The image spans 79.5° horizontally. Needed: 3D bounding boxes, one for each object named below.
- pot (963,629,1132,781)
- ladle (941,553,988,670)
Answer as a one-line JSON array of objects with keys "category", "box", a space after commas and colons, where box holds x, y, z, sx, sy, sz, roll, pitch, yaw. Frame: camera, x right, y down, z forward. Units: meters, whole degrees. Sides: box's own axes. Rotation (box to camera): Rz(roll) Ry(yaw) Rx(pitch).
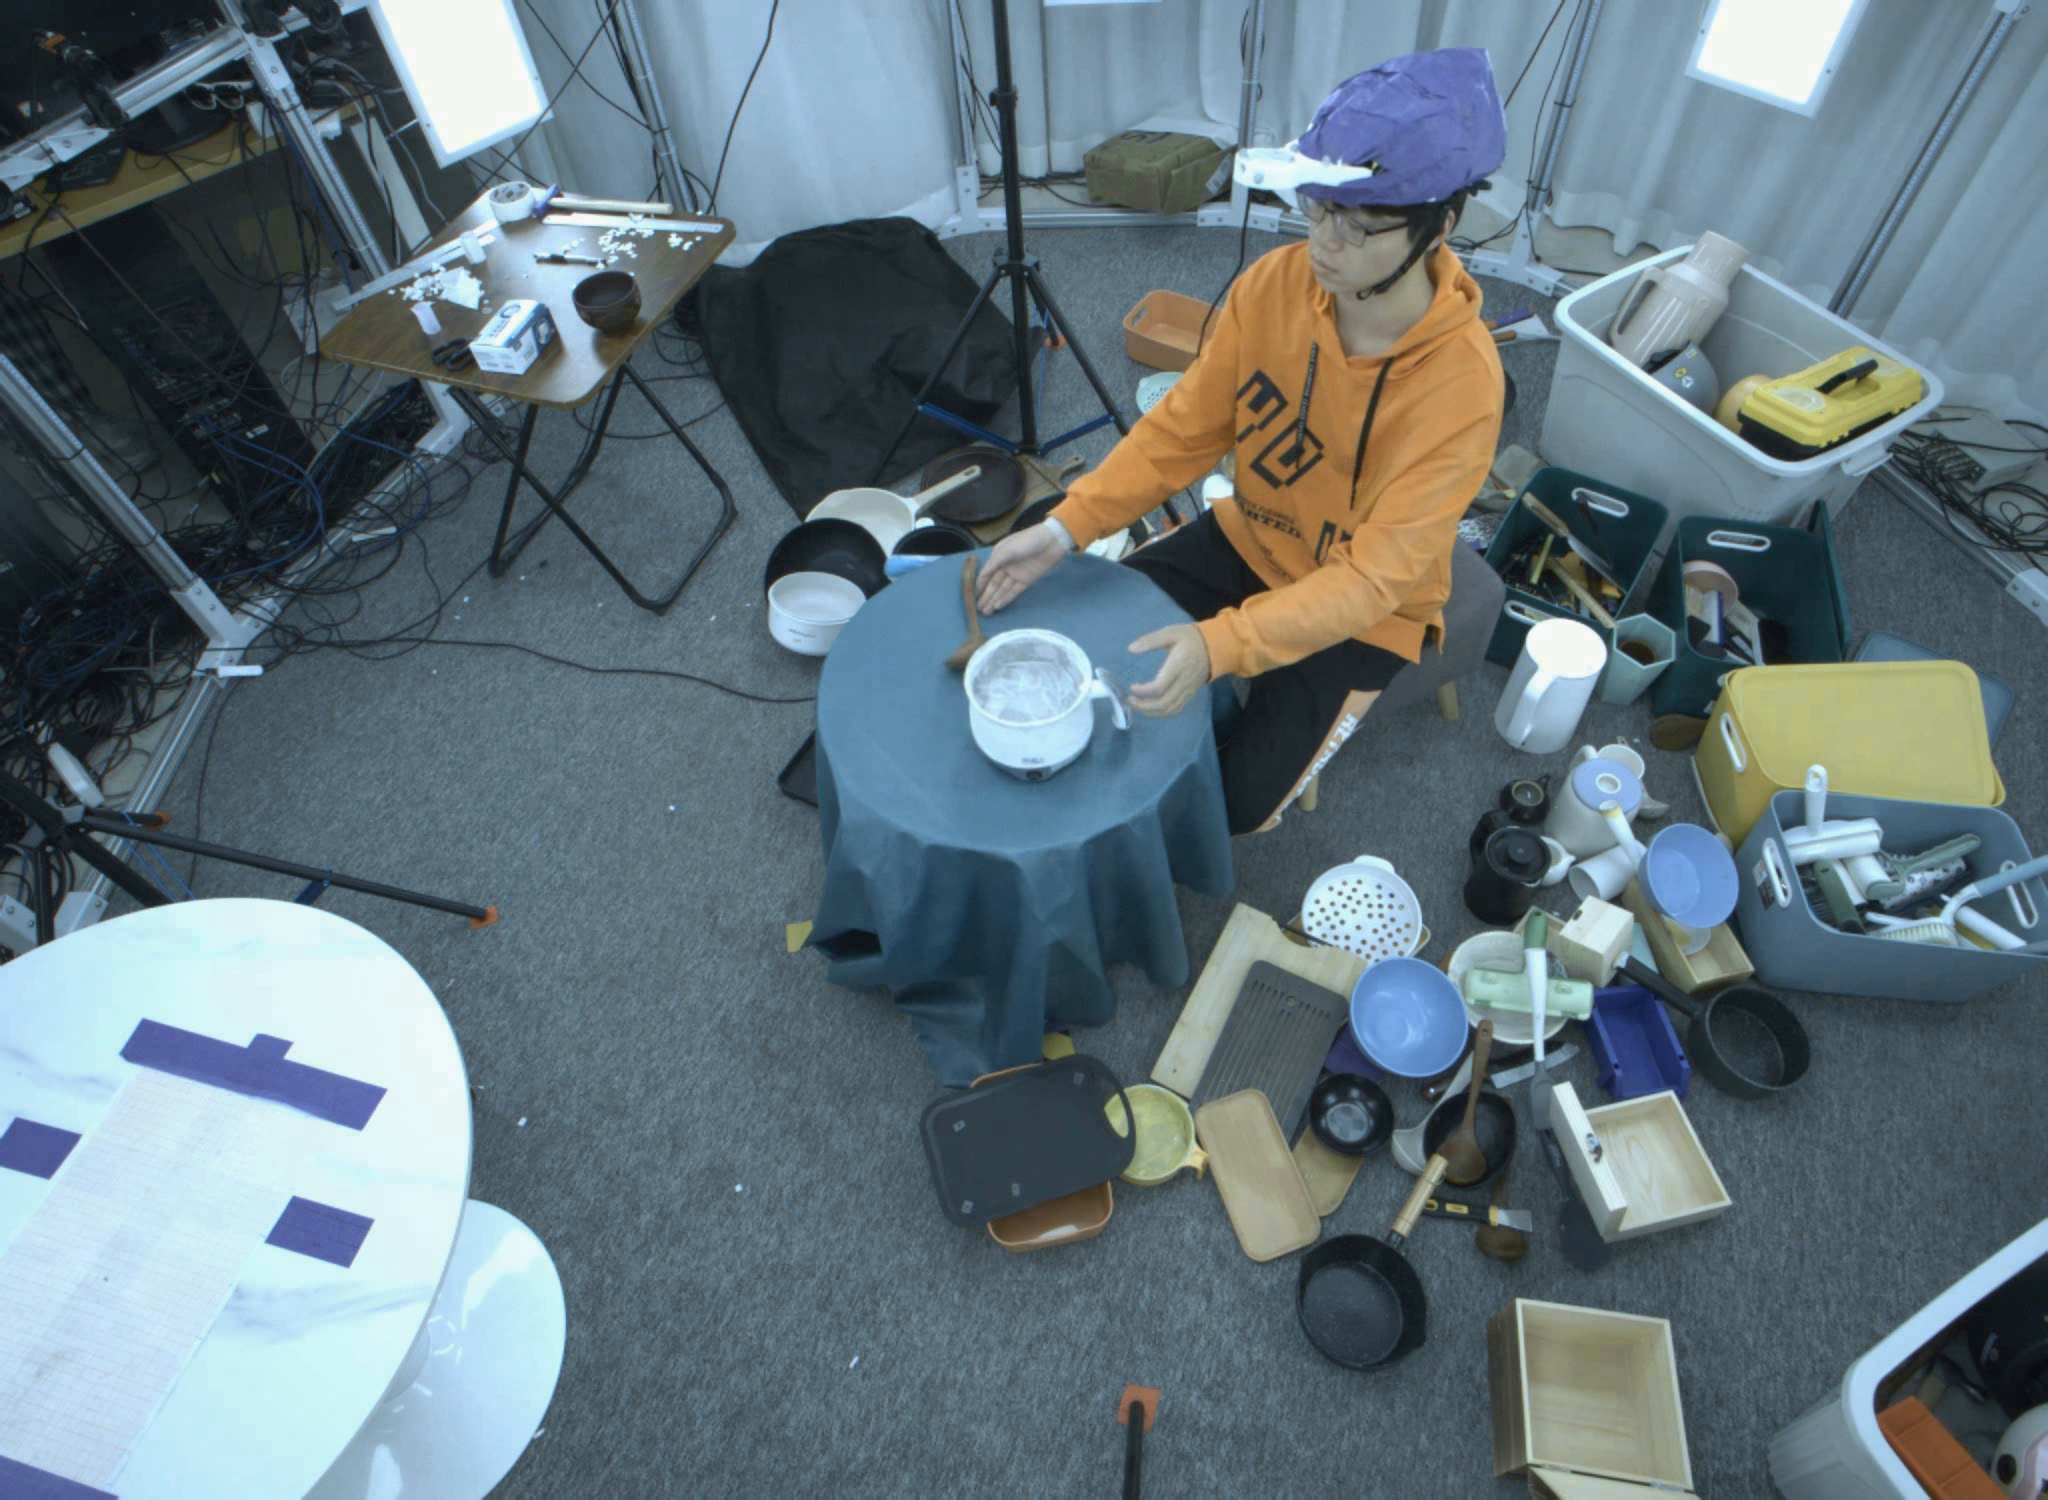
[{"category": "pot", "box": [0.037, -0.066, 1.748, 0.234, 0.138, 0.176, -4, 55, 0]}, {"category": "ladle", "box": [-0.092, -0.227, 1.914, 0.075, 0.066, 0.257, -18, 53, 21]}]
